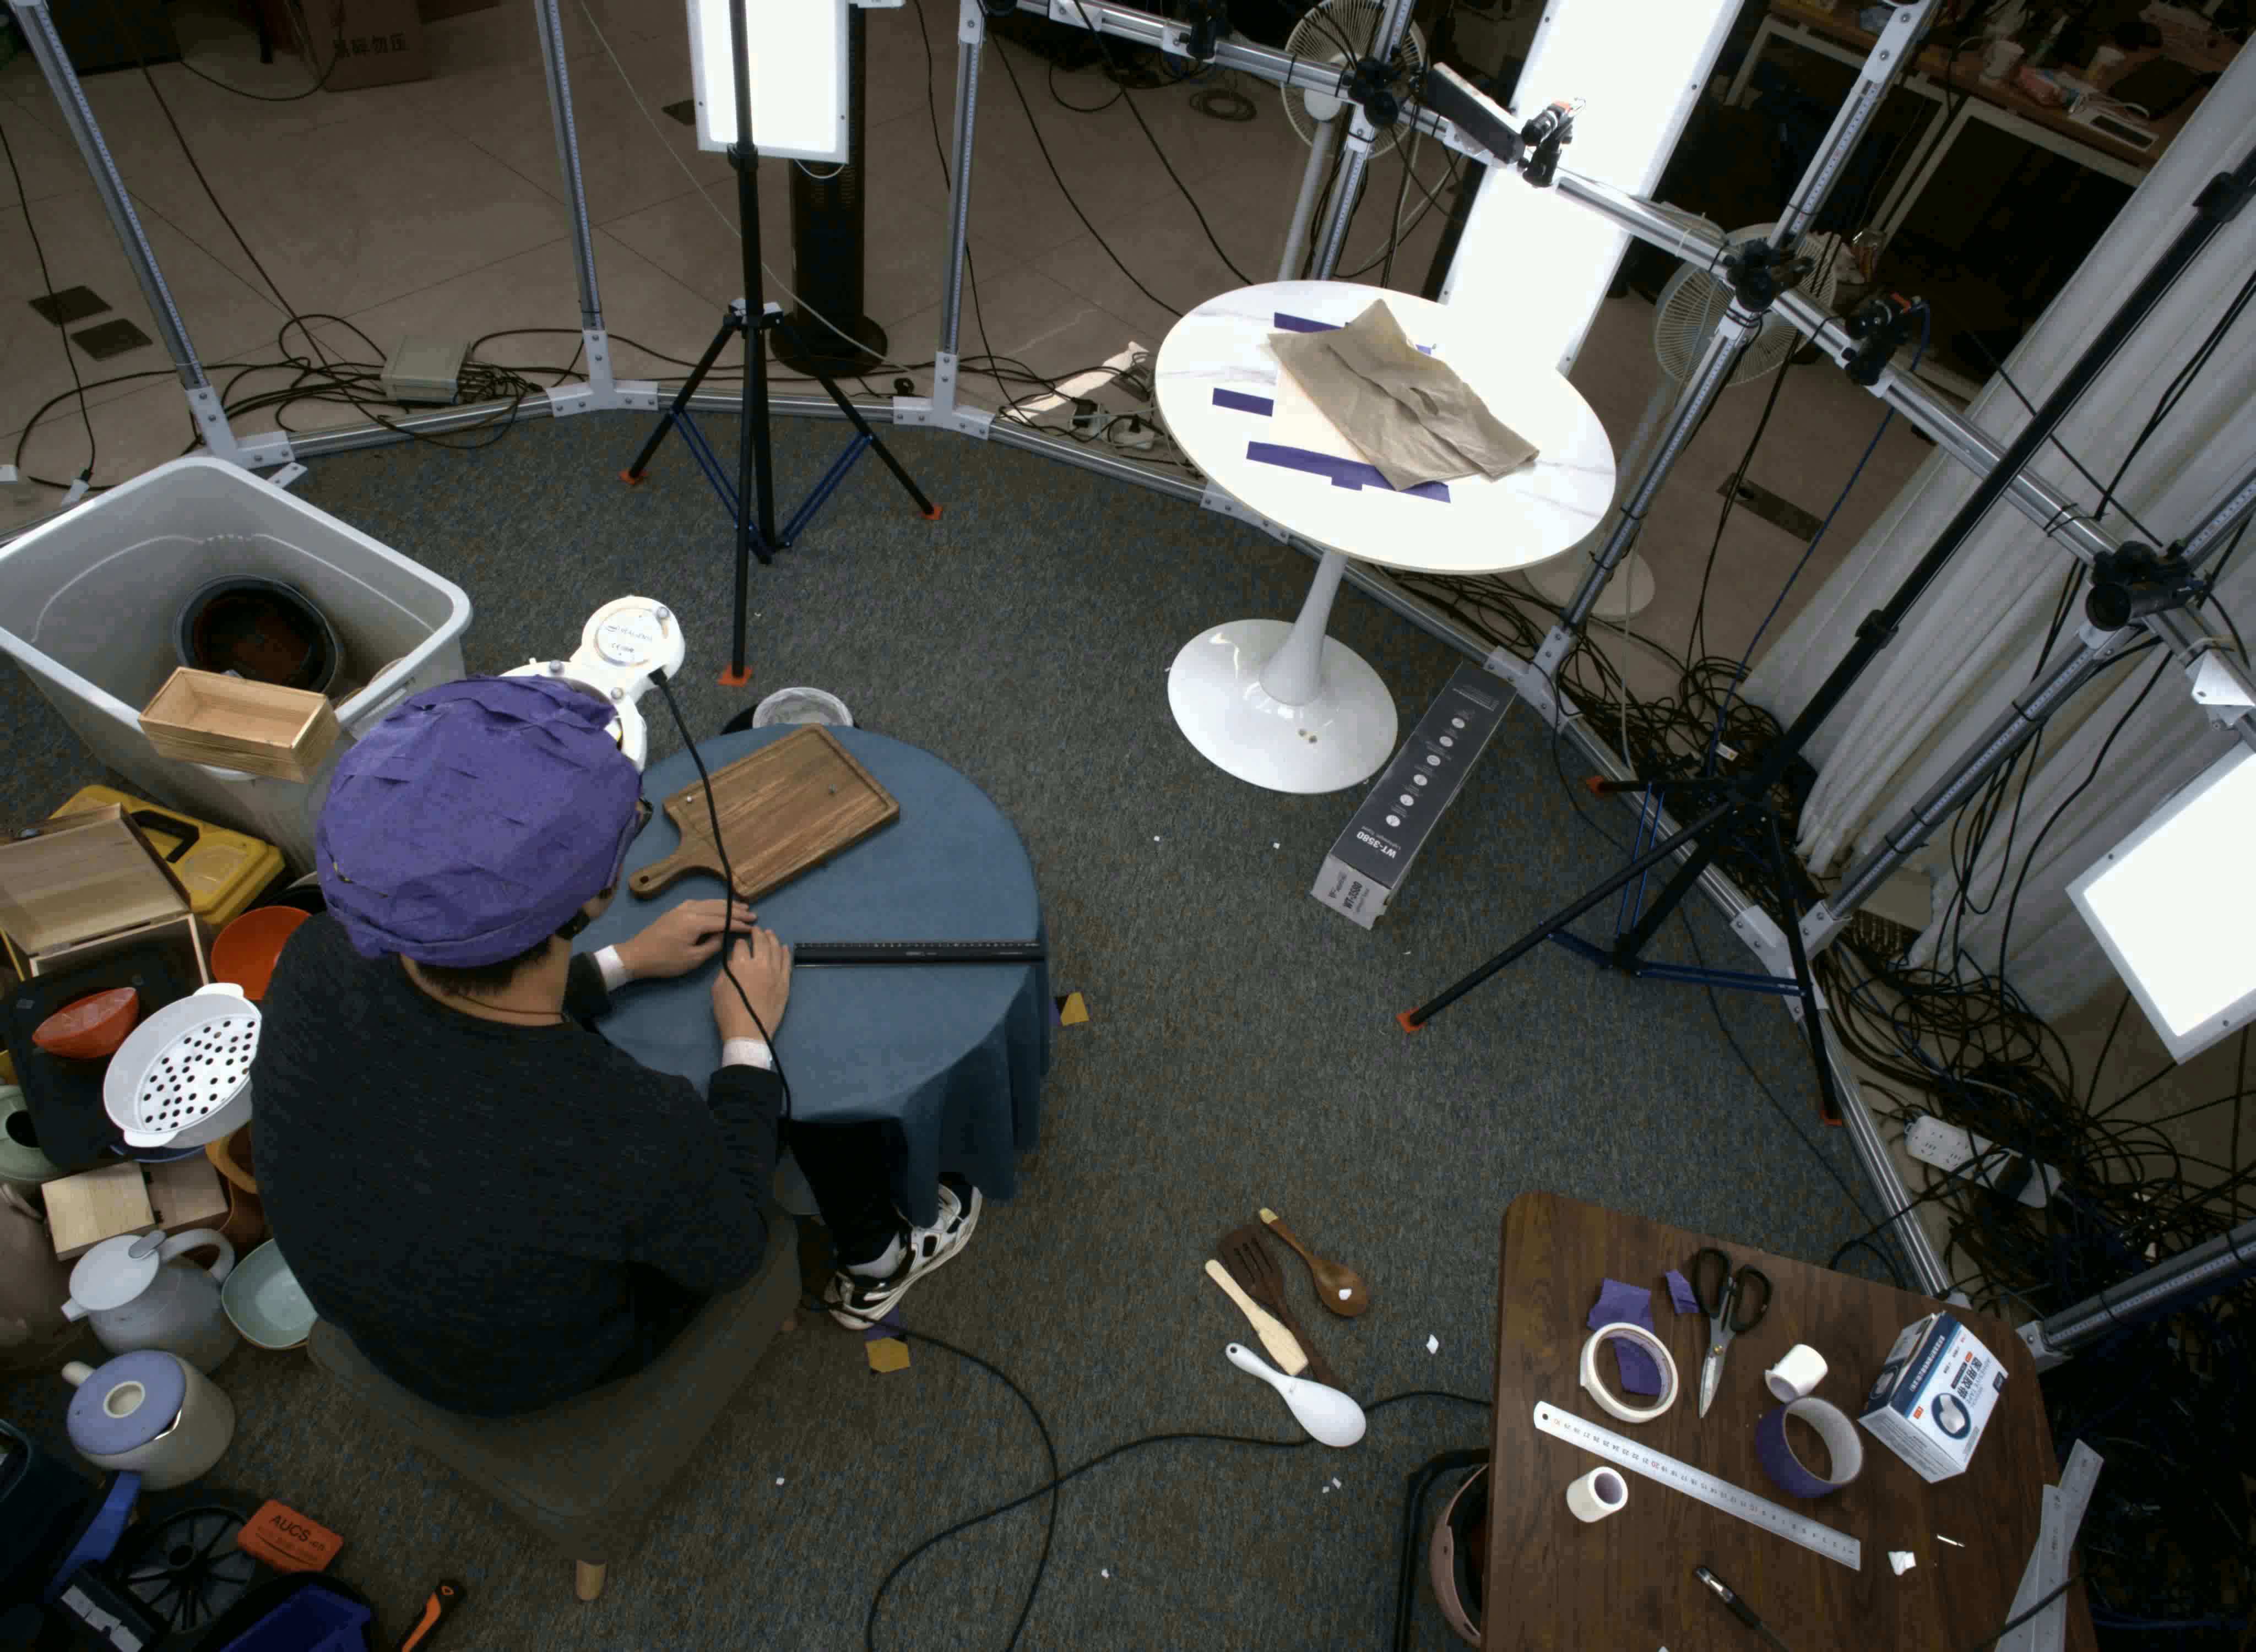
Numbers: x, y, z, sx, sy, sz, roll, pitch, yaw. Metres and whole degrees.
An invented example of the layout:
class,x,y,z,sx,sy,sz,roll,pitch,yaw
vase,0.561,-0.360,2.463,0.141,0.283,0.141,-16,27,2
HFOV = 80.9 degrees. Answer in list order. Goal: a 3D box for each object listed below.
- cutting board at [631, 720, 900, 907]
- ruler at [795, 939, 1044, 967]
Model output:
class,x,y,z,sx,sy,sz,roll,pitch,yaw
cutting board,-0.493,-0.001,1.688,0.353,0.023,0.196,-35,69,-32
ruler,-0.260,0.153,1.638,0.313,0.017,0.038,1,51,-14
